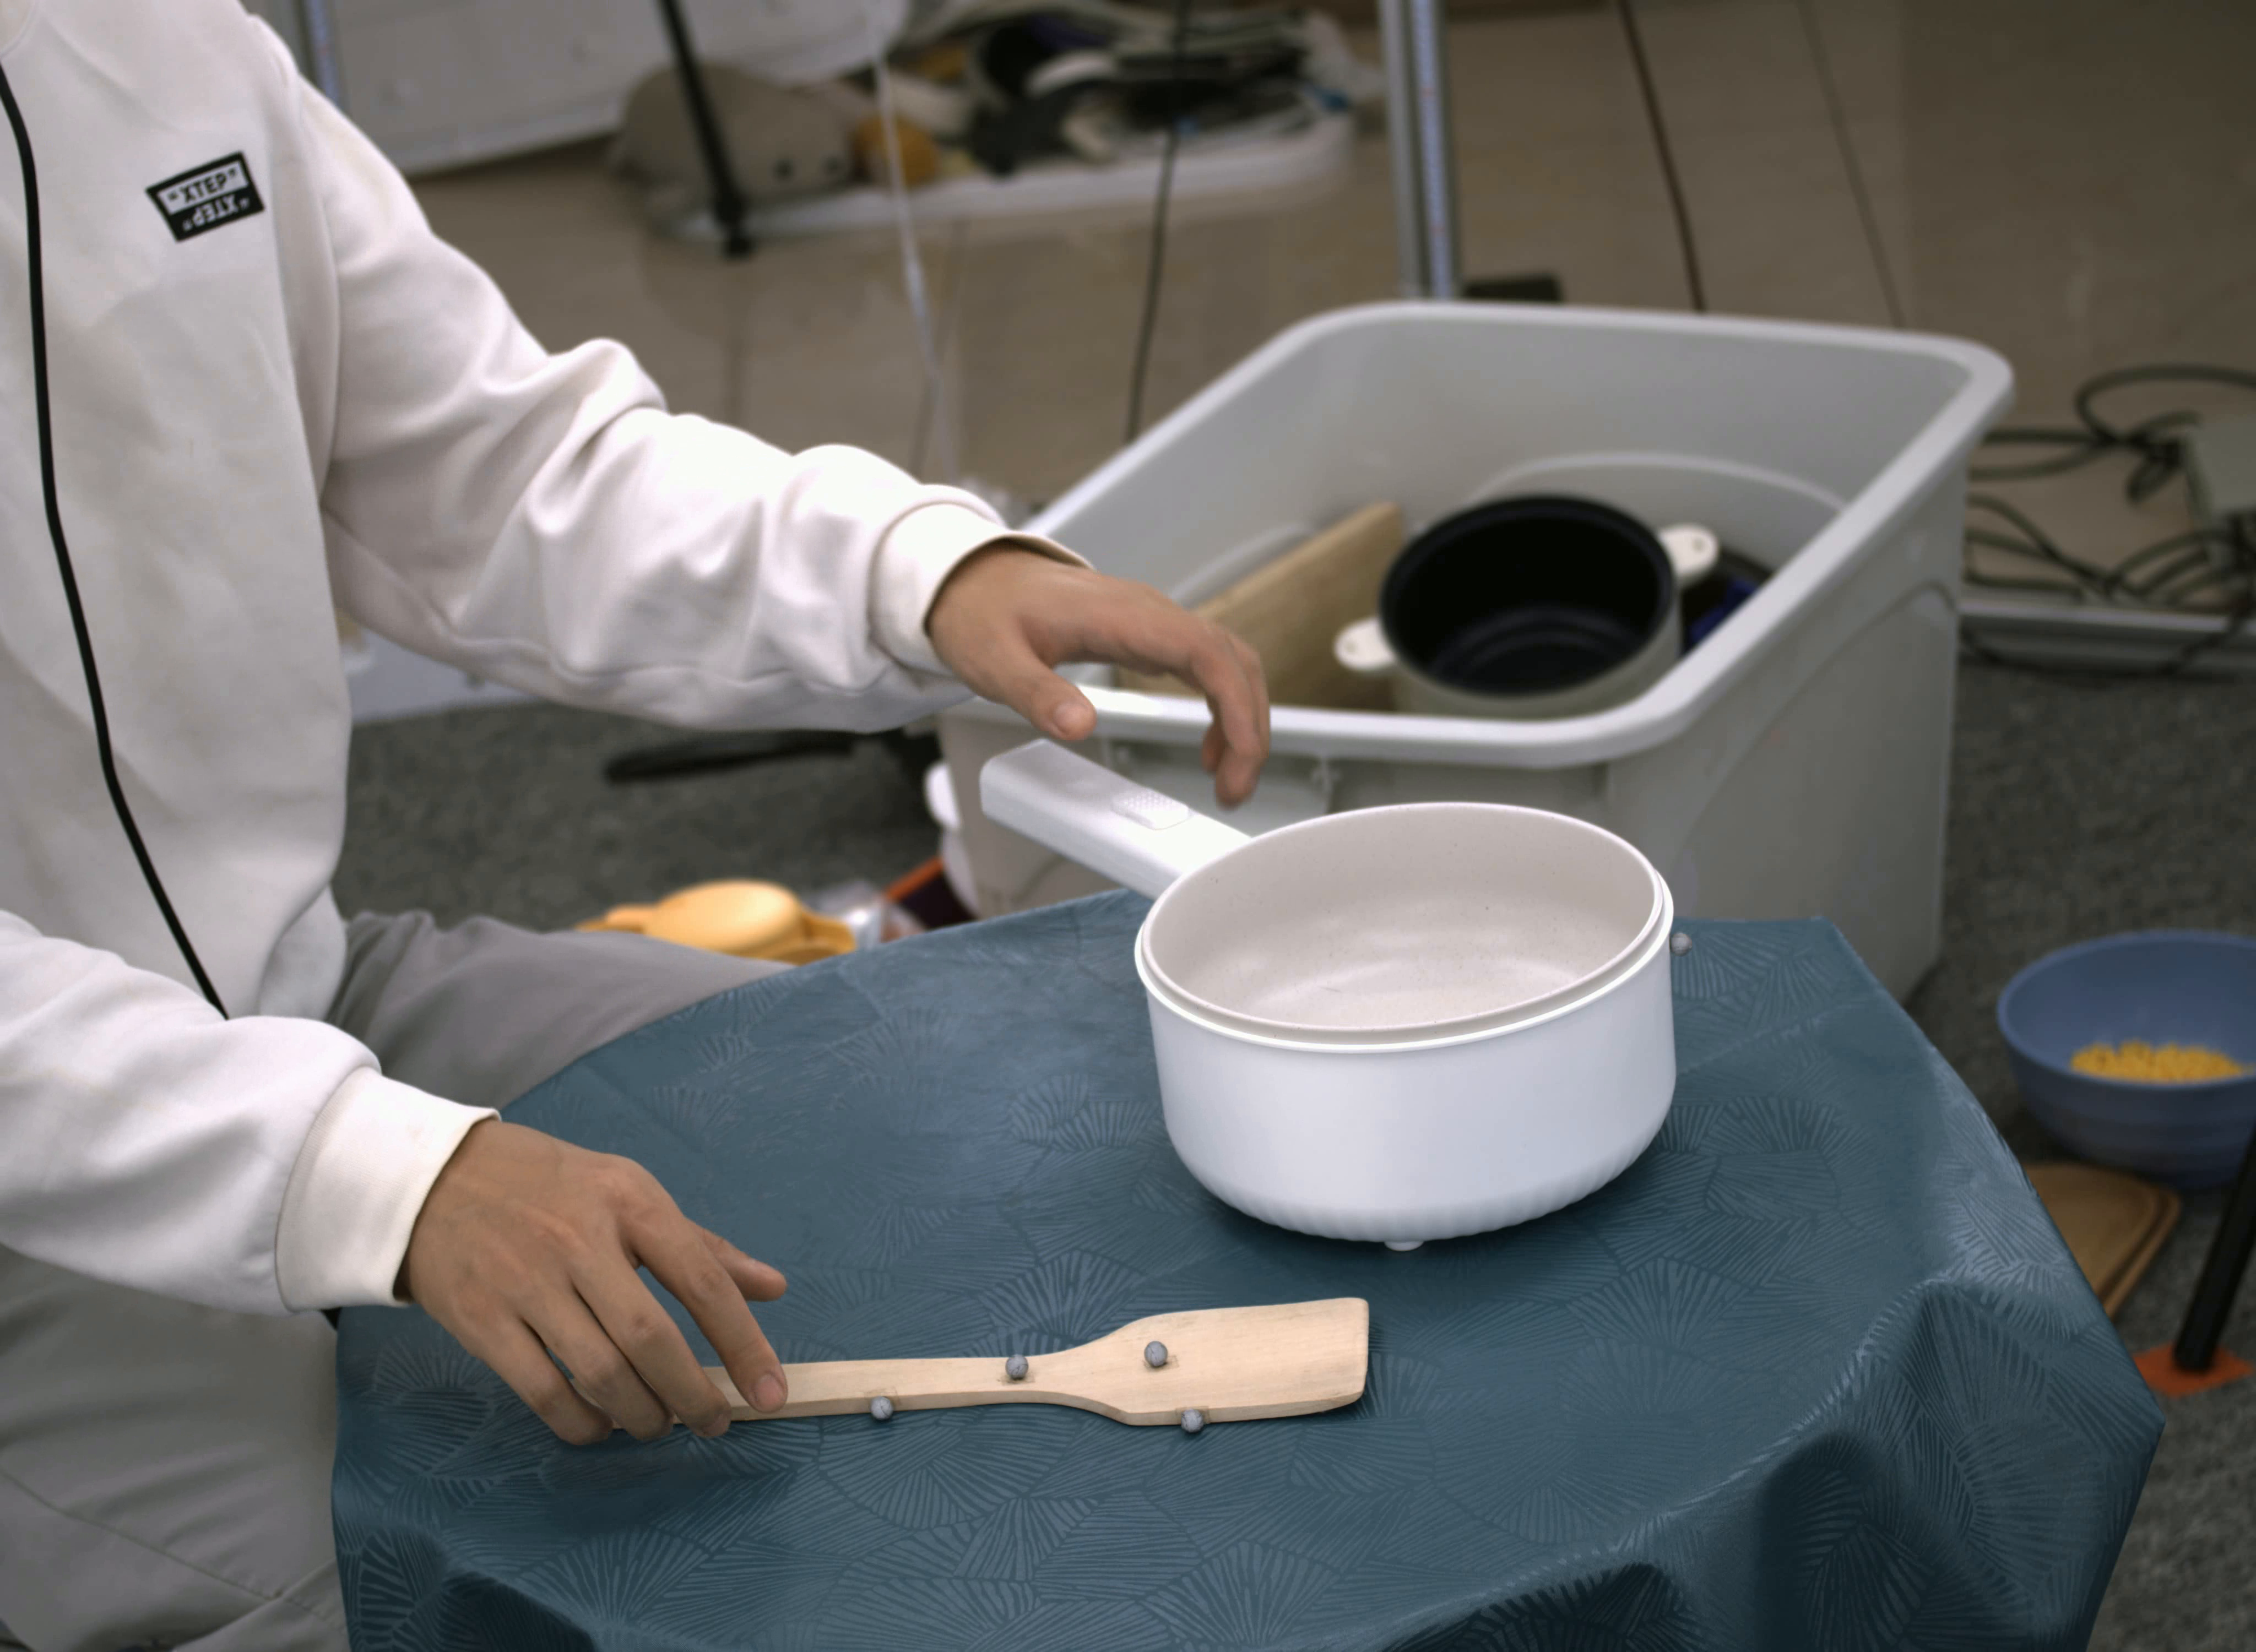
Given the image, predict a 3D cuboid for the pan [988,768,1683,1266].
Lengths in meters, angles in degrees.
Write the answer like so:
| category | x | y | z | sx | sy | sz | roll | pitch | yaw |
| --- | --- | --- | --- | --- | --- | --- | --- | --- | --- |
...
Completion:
| category | x | y | z | sx | sy | sz | roll | pitch | yaw |
| --- | --- | --- | --- | --- | --- | --- | --- | --- | --- |
| pan | 0.064 | 0.065 | 2.193 | 0.200 | 0.103 | 0.352 | -26 | 28 | -28 |
